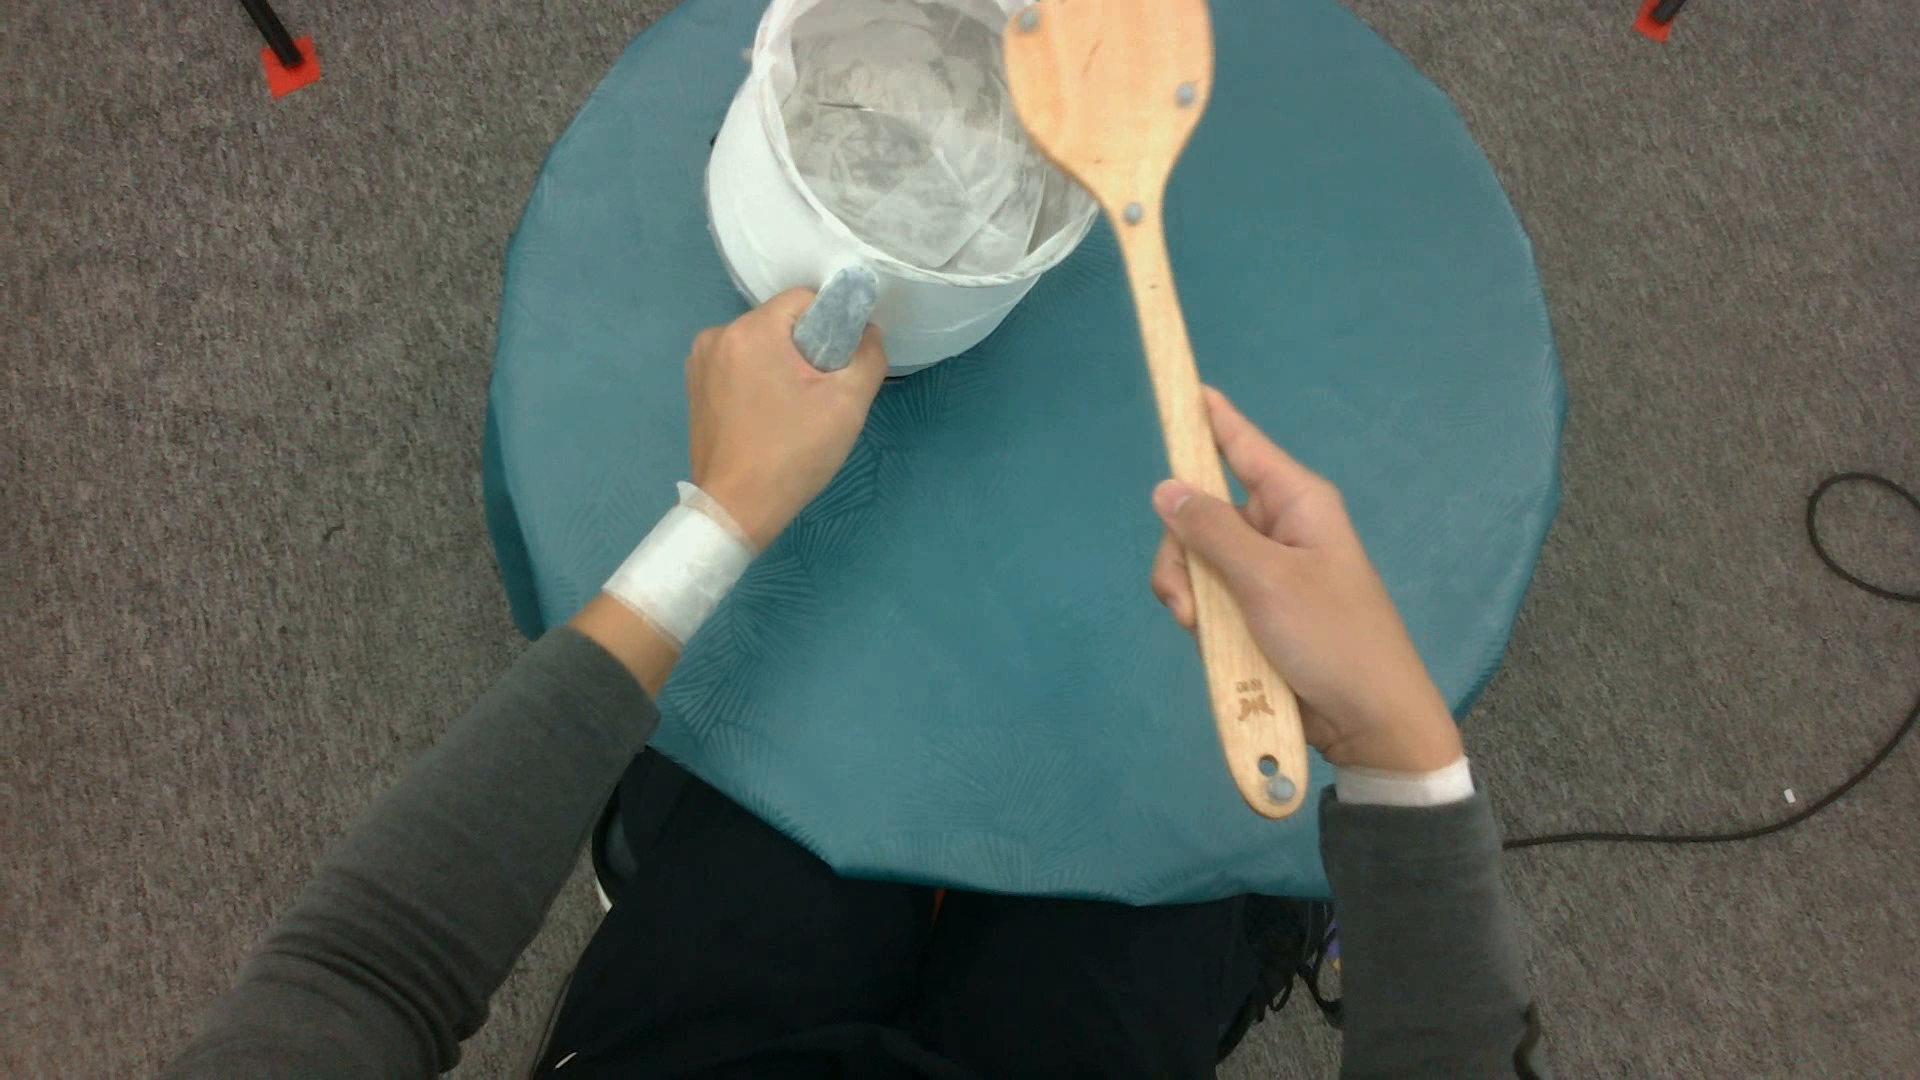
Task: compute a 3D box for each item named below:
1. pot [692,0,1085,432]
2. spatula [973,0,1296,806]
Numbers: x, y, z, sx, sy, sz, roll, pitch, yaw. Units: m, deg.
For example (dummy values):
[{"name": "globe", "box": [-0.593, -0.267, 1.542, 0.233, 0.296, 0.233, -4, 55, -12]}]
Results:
[{"name": "pot", "box": [-0.046, -0.166, 0.682, 0.179, 0.136, 0.234, 26, 66, -14]}, {"name": "spatula", "box": [0.082, -0.081, 0.578, 0.096, 0.018, 0.392, -12, 65, 2]}]
